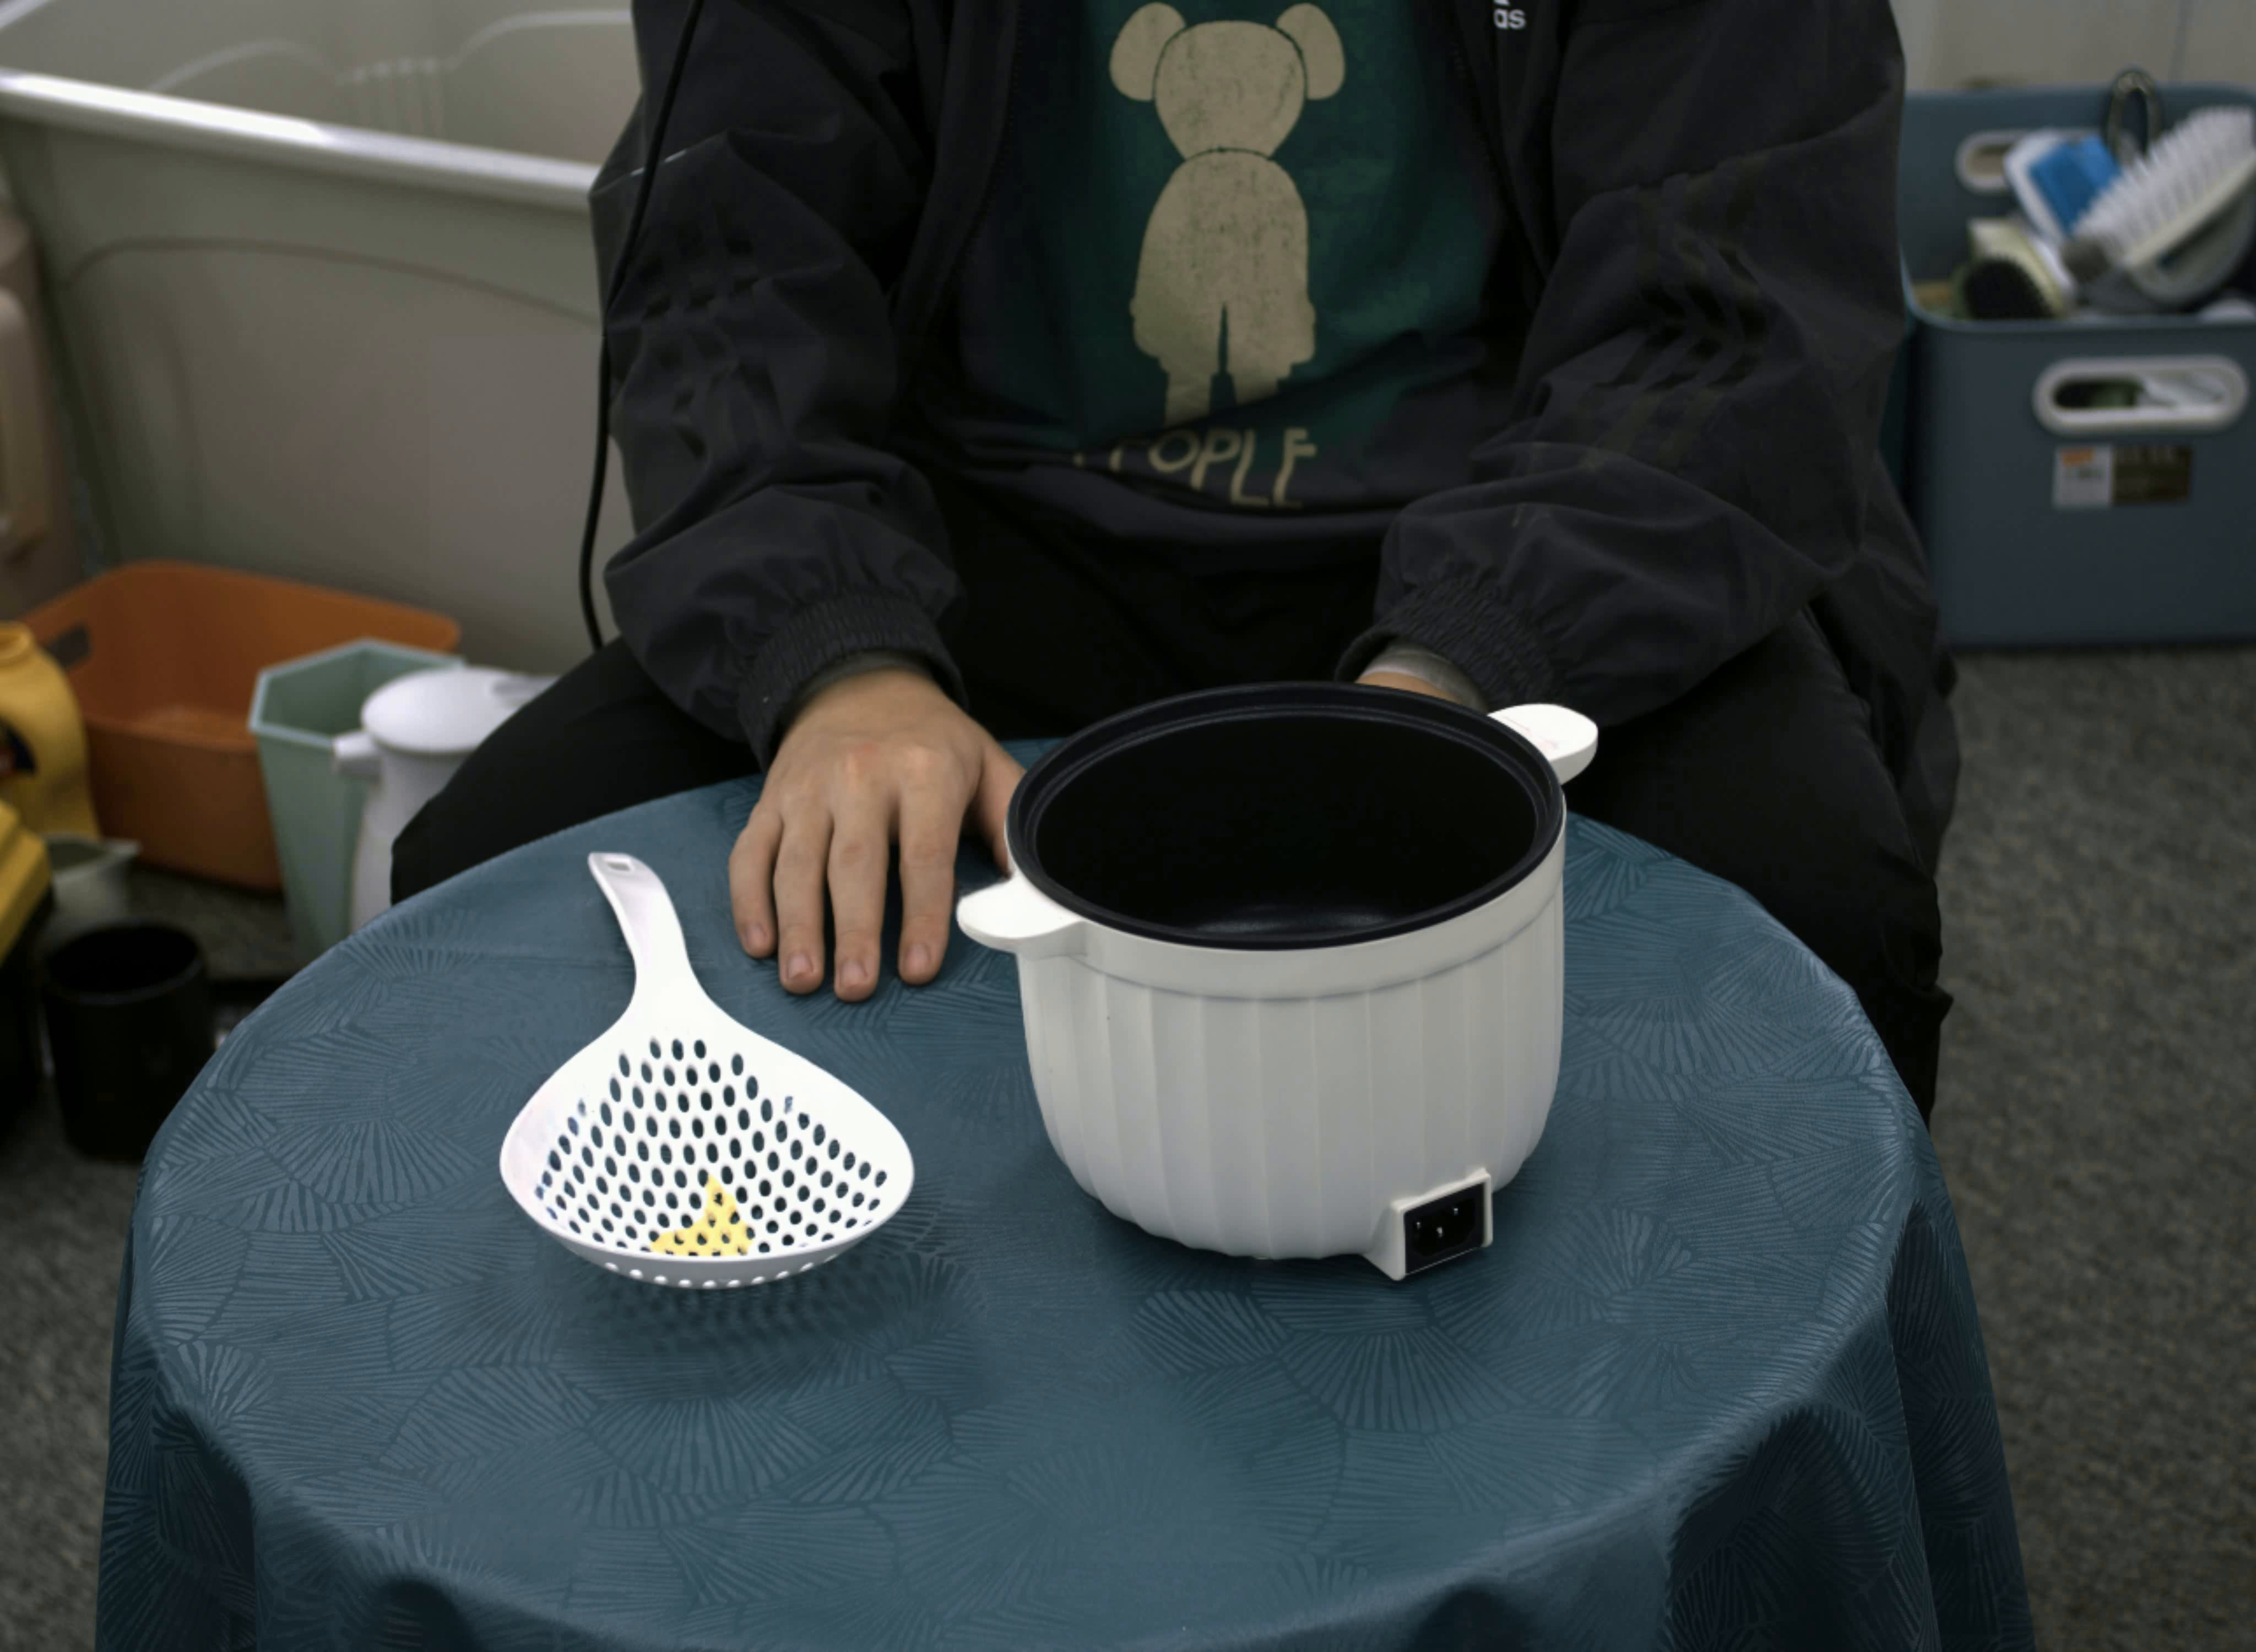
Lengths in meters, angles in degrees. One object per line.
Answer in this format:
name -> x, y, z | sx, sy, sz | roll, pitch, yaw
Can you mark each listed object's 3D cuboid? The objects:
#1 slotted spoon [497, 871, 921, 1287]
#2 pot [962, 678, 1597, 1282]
slotted spoon -> -0.157, 0.074, 1.920 | 0.136, 0.050, 0.352 | -3, 27, -11
pot -> 0.050, 0.050, 1.844 | 0.242, 0.141, 0.191 | -17, 33, -28
